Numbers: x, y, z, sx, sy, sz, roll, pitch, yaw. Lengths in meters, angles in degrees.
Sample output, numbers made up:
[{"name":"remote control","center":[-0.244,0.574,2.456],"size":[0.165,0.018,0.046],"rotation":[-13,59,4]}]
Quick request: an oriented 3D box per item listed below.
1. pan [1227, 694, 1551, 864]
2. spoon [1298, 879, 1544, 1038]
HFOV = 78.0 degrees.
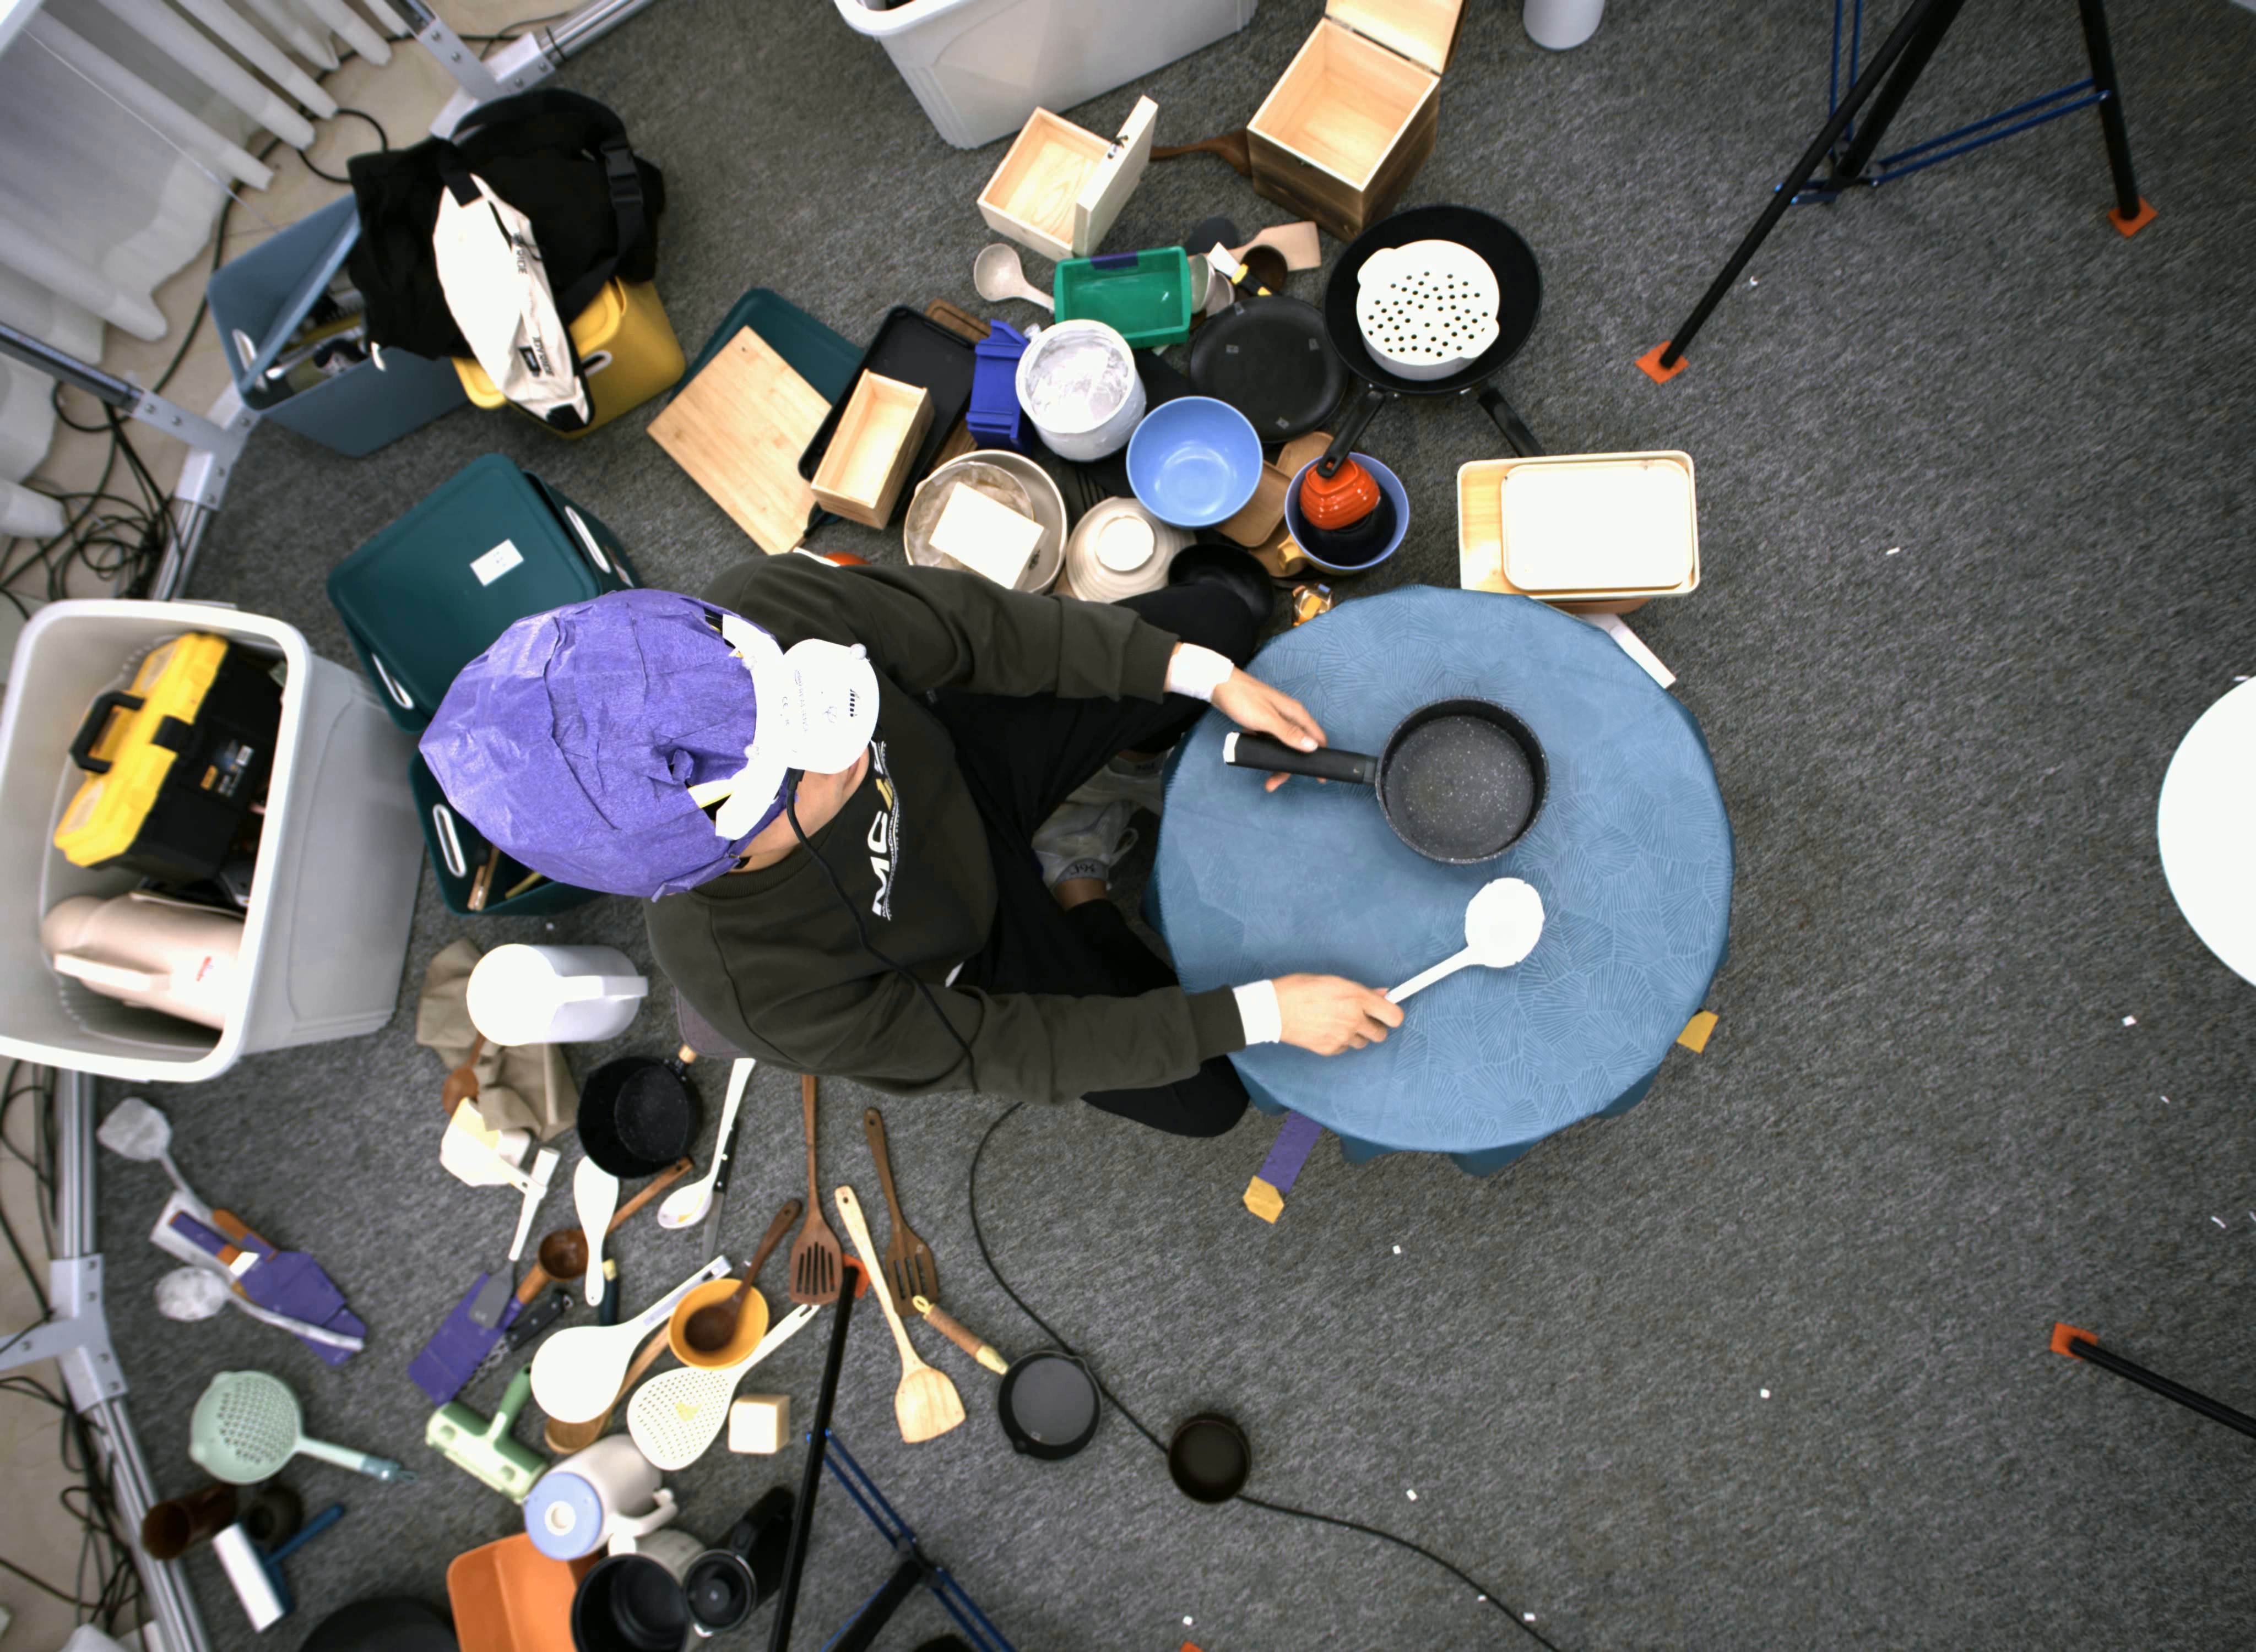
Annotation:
[{"name":"pan","center":[0.266,-0.060,1.426],"size":[0.329,0.086,0.171],"rotation":[11,87,10]},{"name":"spoon","center":[0.294,0.138,1.415],"size":[0.278,0.060,0.098],"rotation":[-25,48,4]}]
